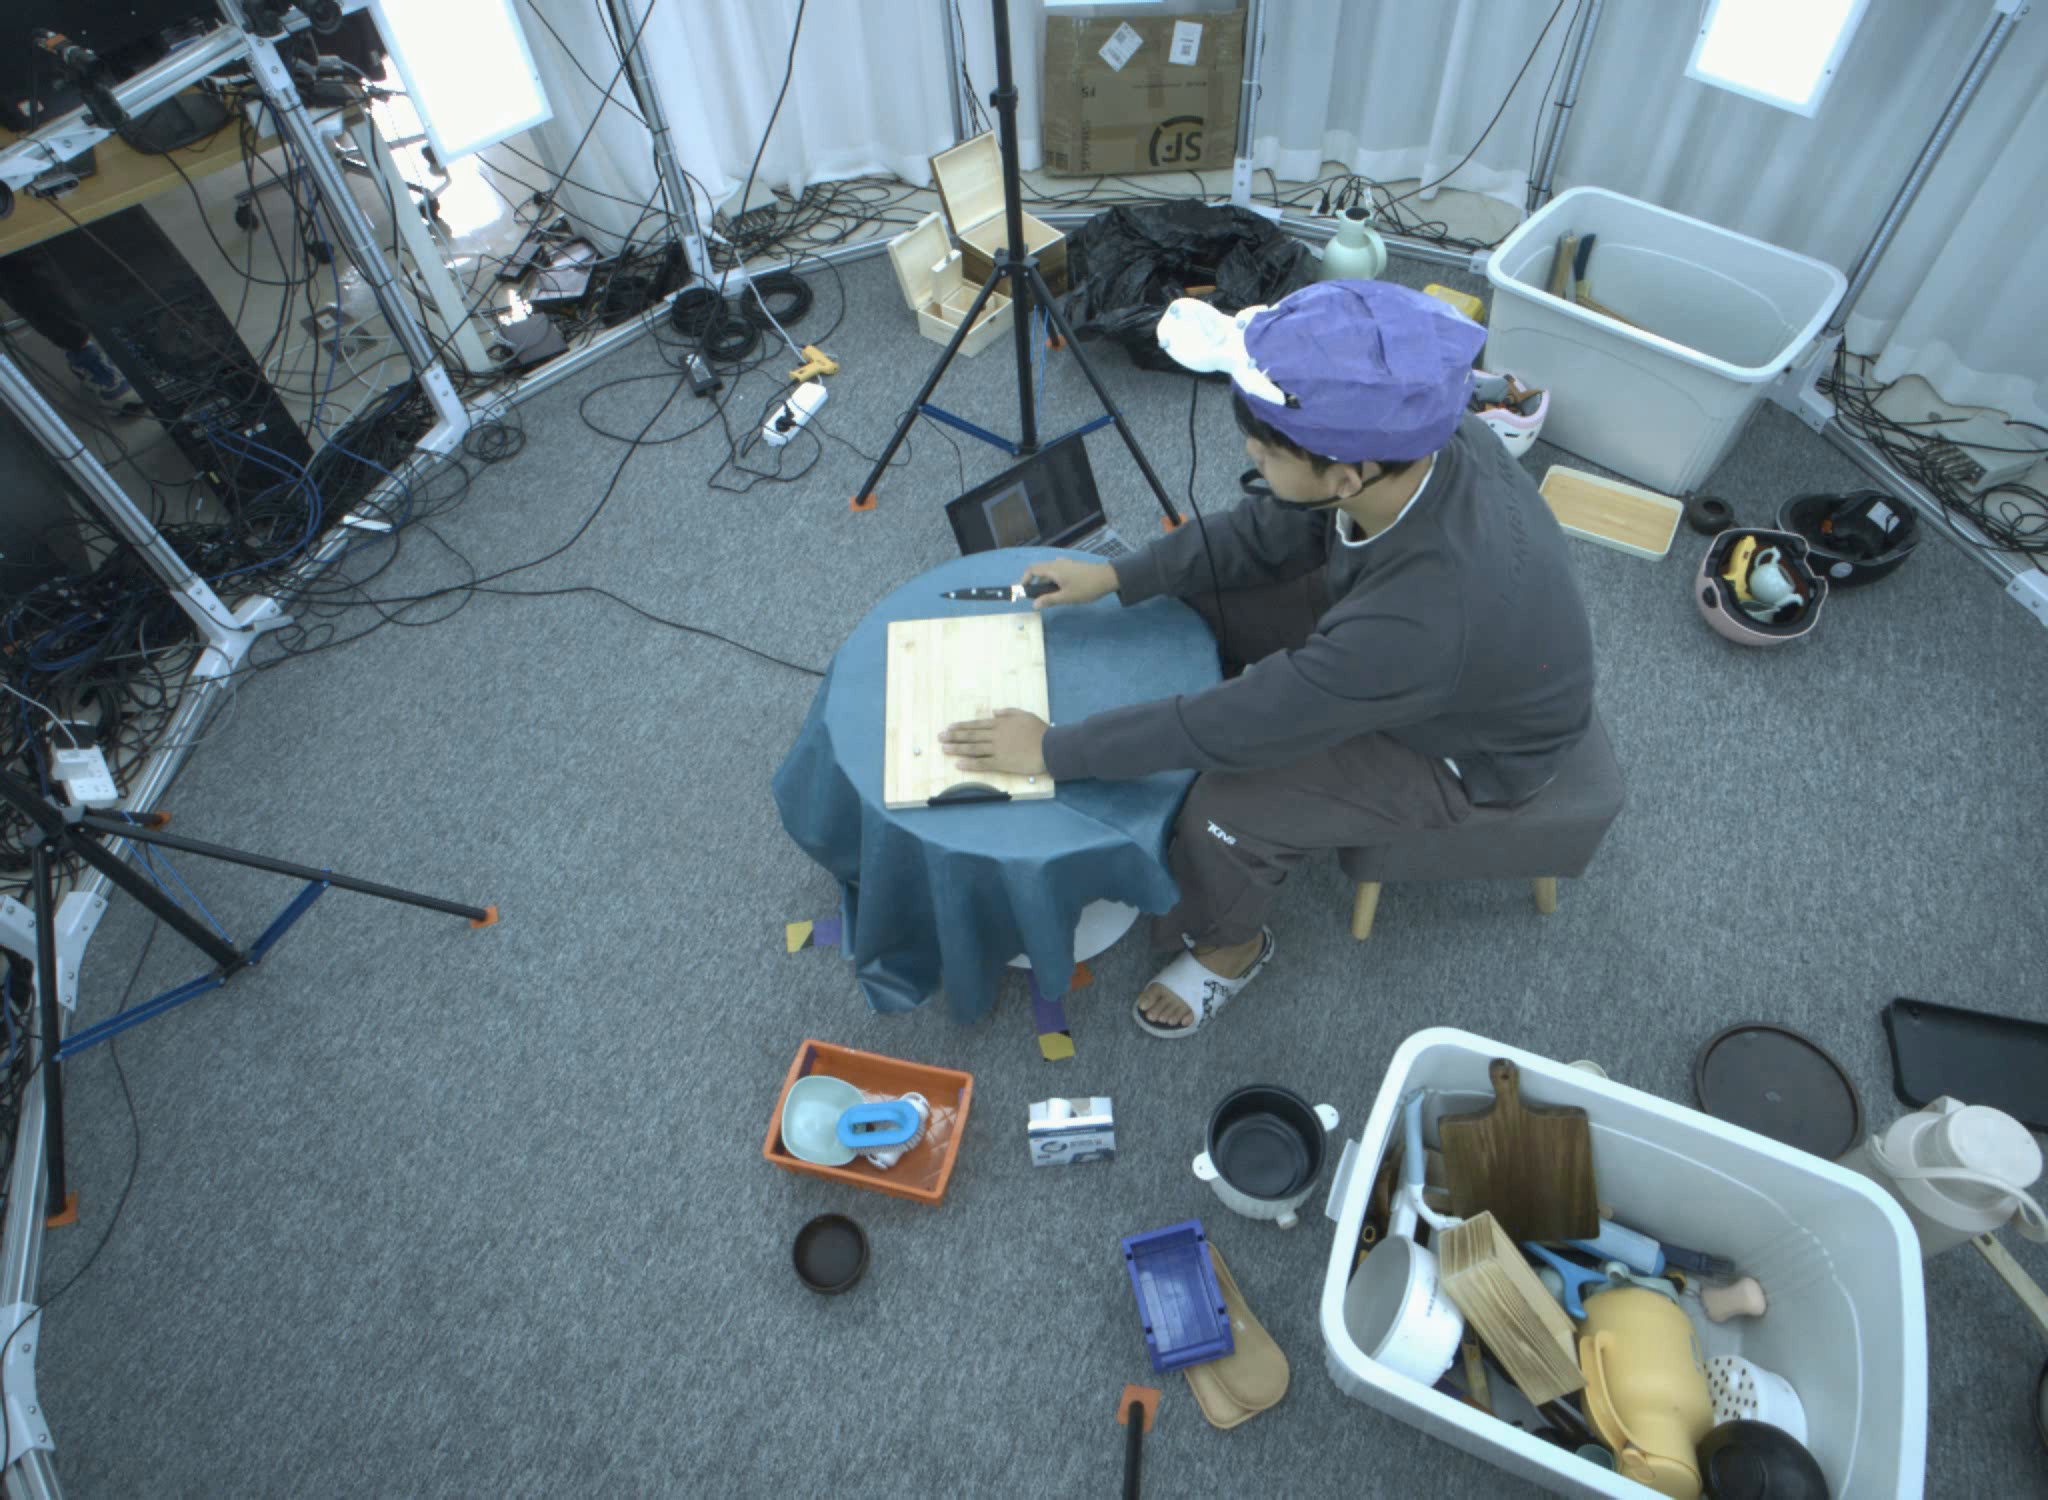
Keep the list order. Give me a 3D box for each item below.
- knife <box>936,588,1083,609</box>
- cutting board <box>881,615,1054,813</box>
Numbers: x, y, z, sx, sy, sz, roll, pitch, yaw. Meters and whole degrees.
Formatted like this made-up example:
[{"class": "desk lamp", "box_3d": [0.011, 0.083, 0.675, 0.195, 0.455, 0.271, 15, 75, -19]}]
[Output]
[{"class": "knife", "box_3d": [-0.023, -0.232, 1.883, 0.226, 0.026, 0.017, -3, 11, -5]}, {"class": "cutting board", "box_3d": [-0.086, -0.062, 1.824, 0.251, 0.024, 0.344, -4, 55, -1]}]
